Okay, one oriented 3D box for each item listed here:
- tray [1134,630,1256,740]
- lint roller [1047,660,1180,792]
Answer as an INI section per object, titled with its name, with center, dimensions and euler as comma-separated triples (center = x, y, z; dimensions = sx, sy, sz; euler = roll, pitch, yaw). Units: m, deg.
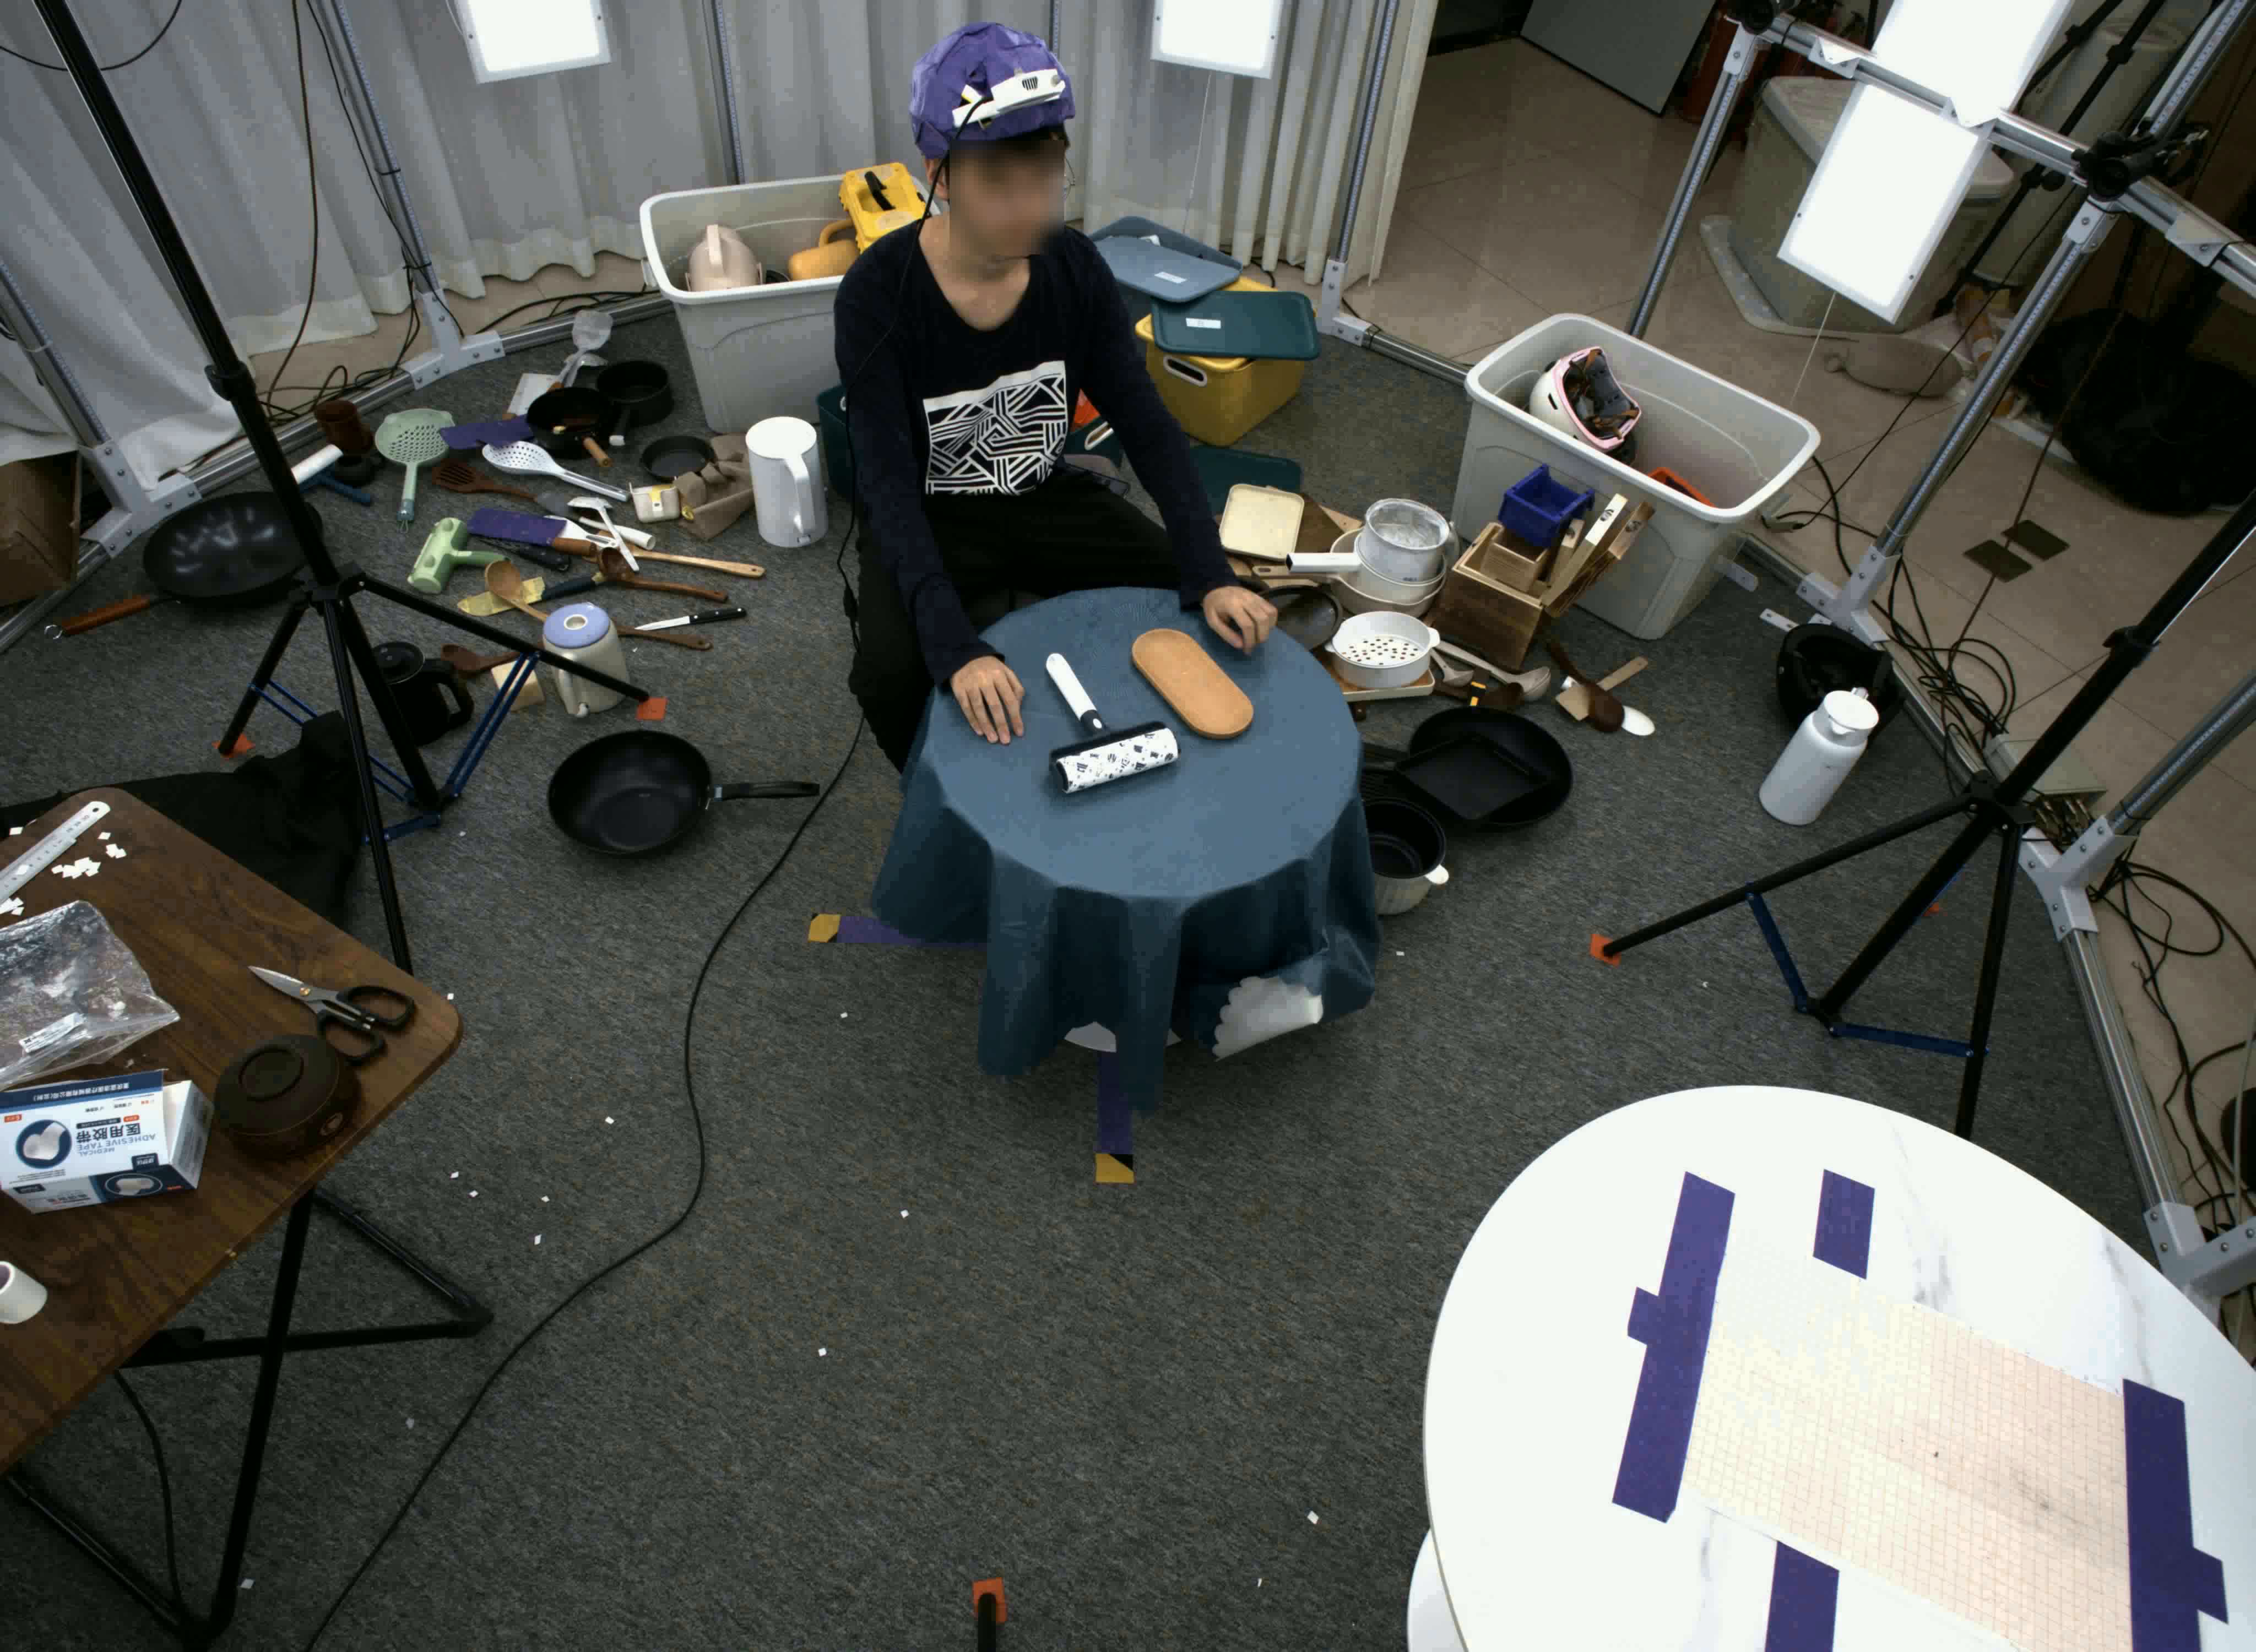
[tray]
center = 0.094, -0.204, 1.840
dimensions = 0.102, 0.020, 0.236
euler = -25, 56, -21
[lint roller]
center = -0.059, -0.158, 1.774
dimensions = 0.176, 0.049, 0.253
euler = -18, 50, -18
